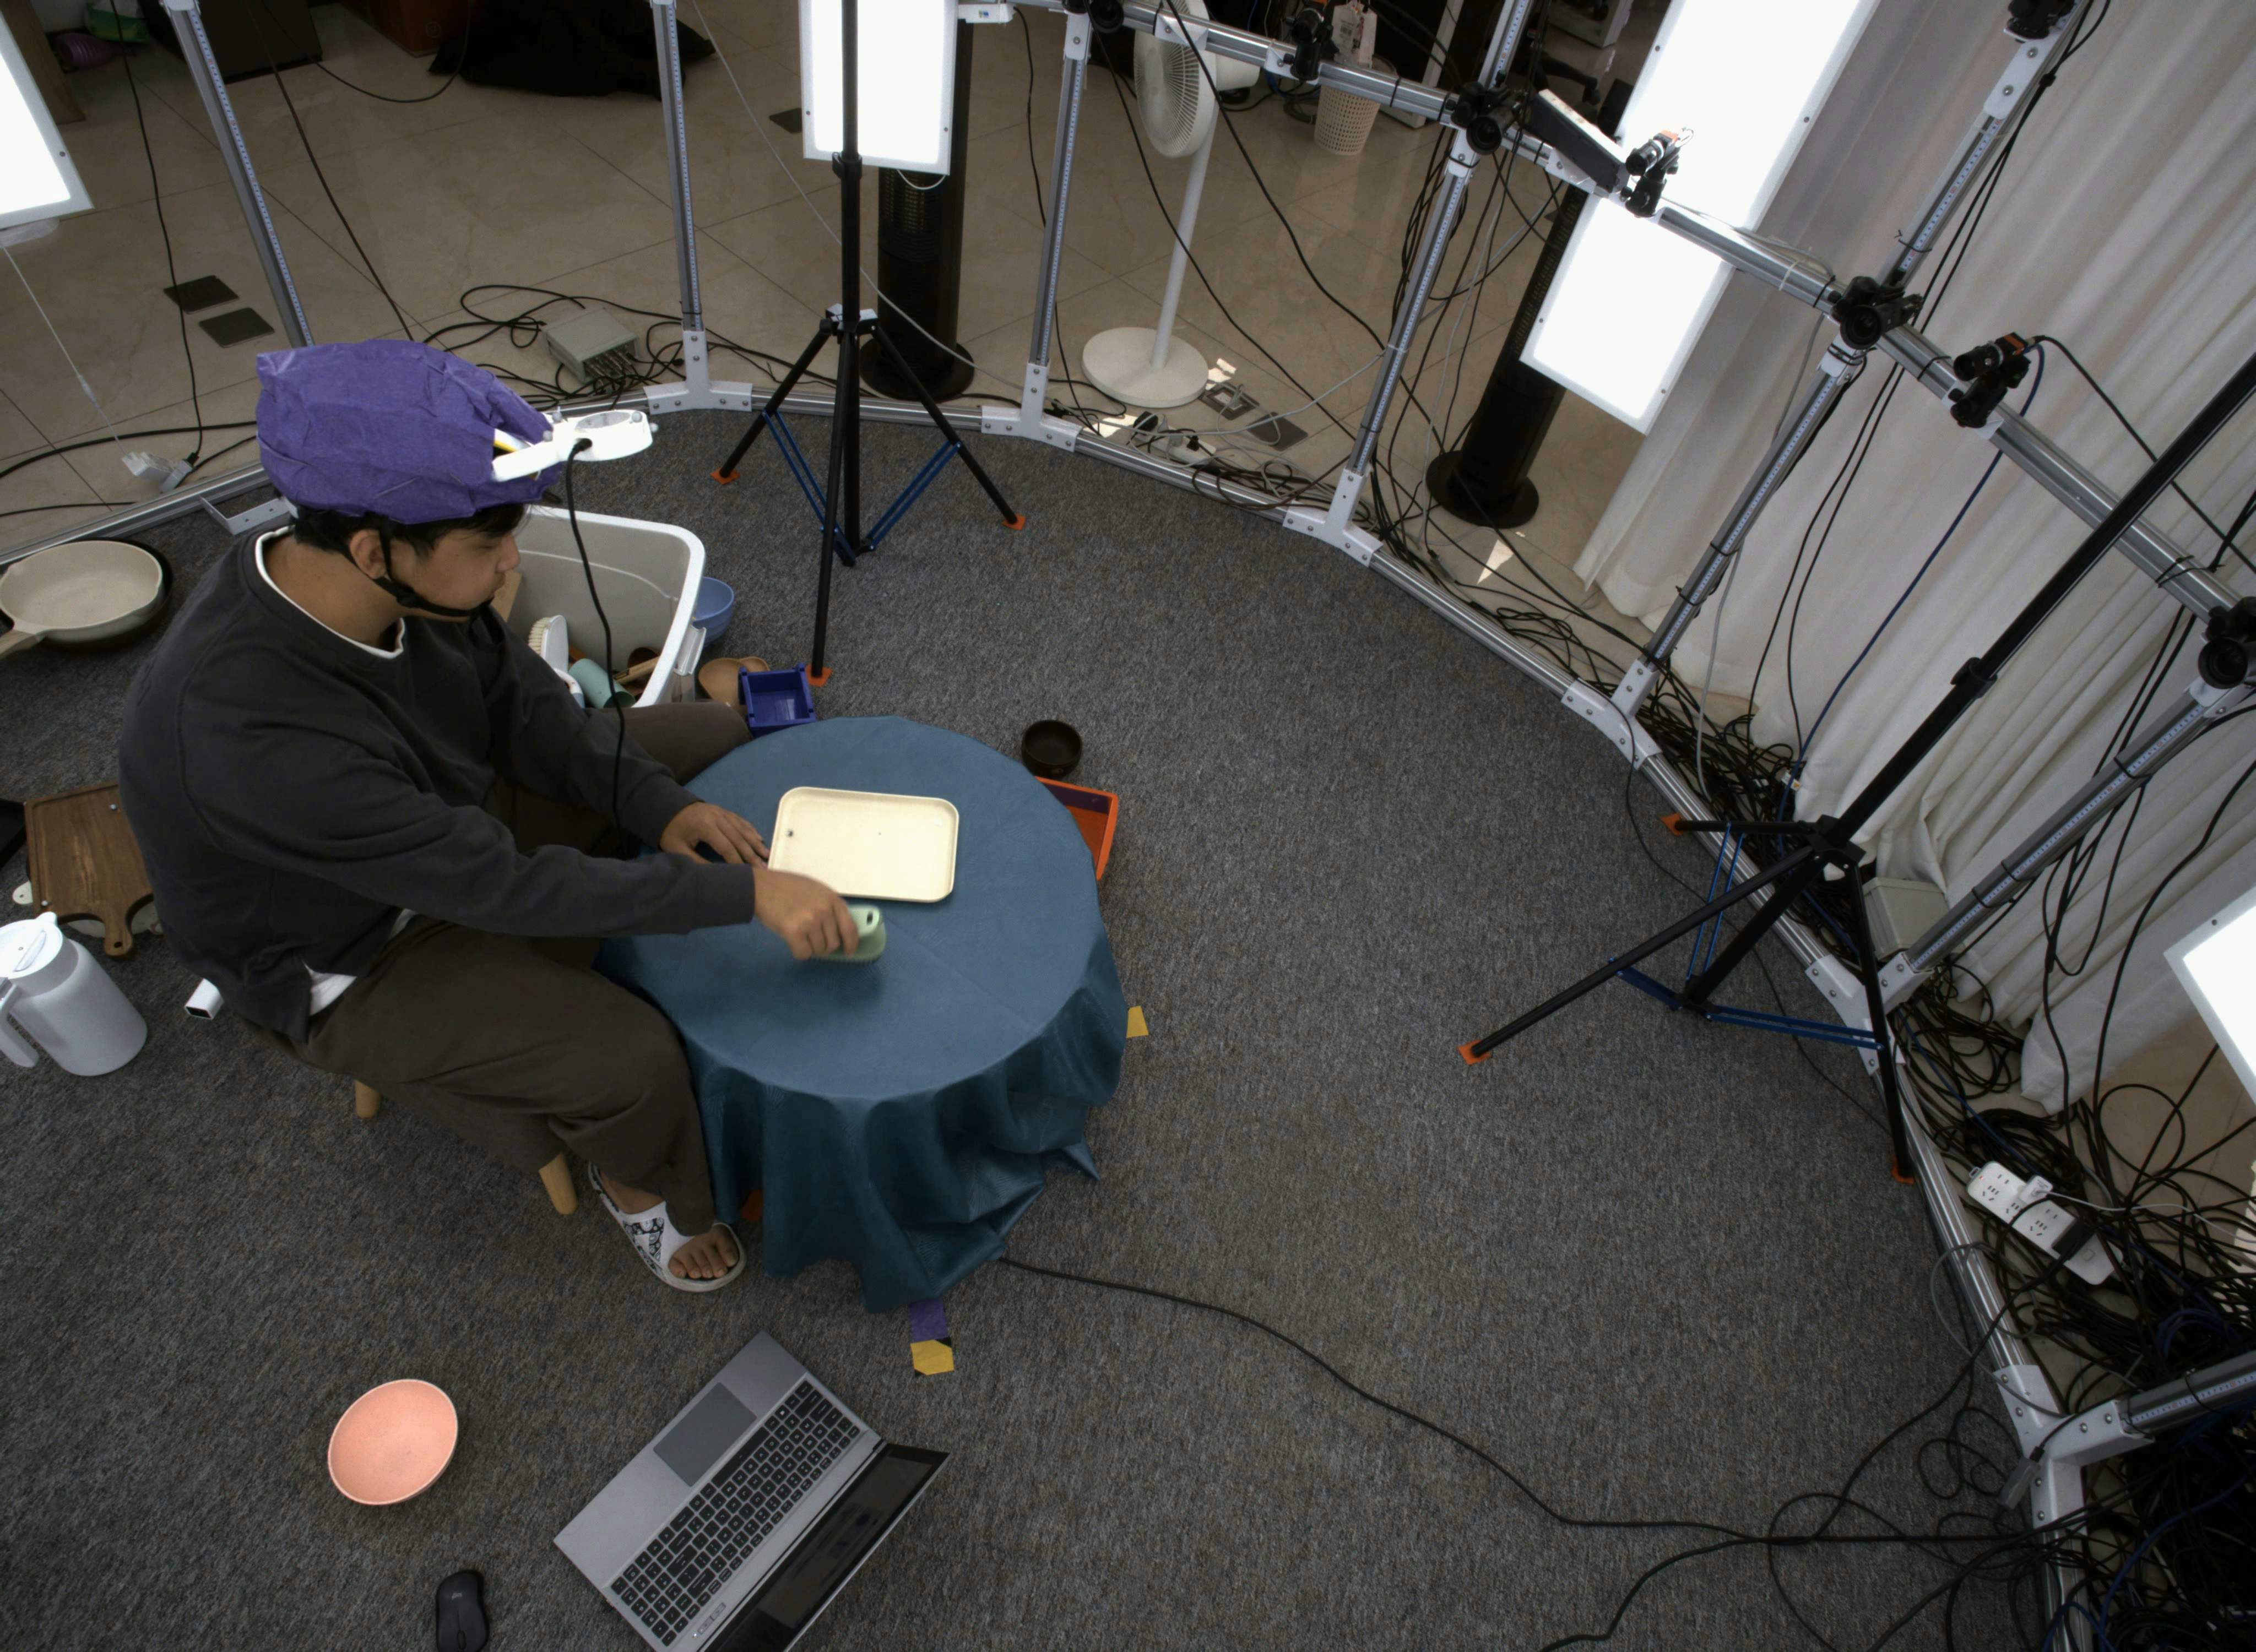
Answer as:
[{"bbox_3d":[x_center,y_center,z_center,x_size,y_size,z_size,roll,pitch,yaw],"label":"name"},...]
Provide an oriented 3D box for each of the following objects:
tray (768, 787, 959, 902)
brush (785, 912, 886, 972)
[{"bbox_3d":[-0.345,0.024,1.710,0.239,0.018,0.168,5,52,-10],"label":"tray"},{"bbox_3d":[-0.350,0.137,1.562,0.121,0.078,0.058,-3,53,0],"label":"brush"}]
